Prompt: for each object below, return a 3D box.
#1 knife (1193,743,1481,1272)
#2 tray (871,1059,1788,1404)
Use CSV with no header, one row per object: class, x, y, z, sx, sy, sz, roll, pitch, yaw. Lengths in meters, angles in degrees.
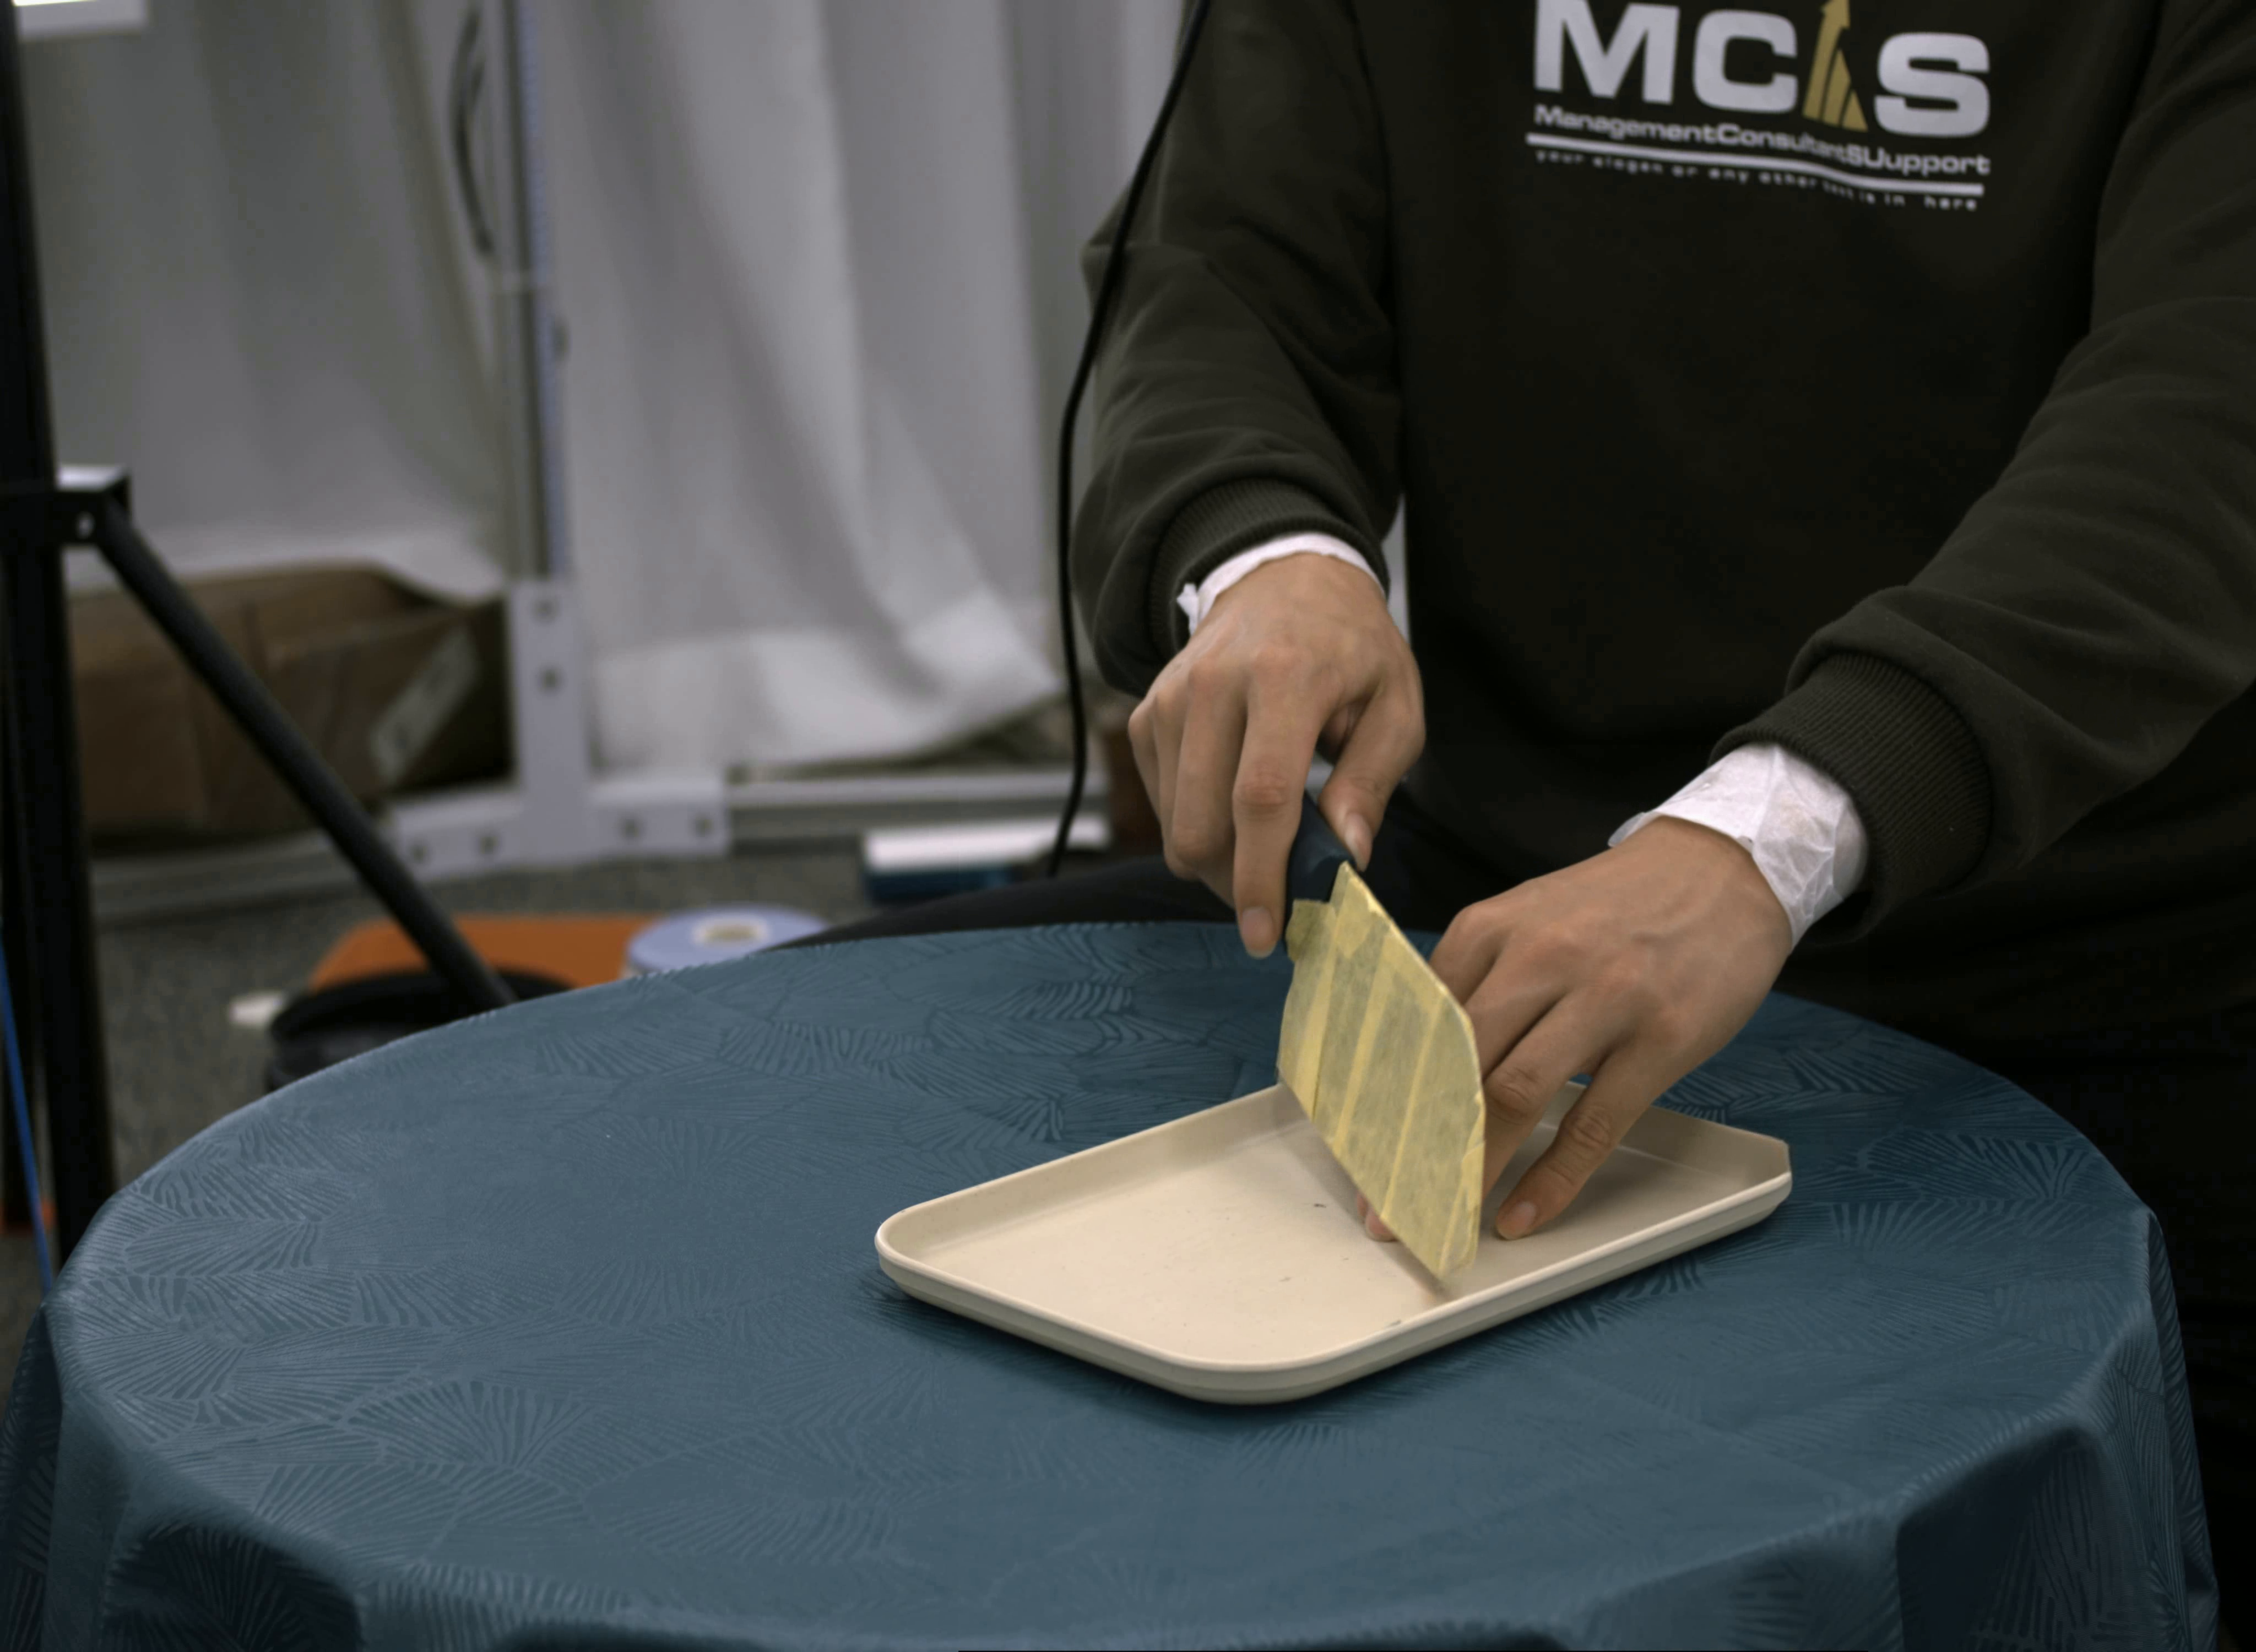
knife,0.059,0.048,1.557,0.027,0.081,0.294,10,22,-18
tray,0.059,0.113,1.504,0.234,0.017,0.175,-16,20,-40
